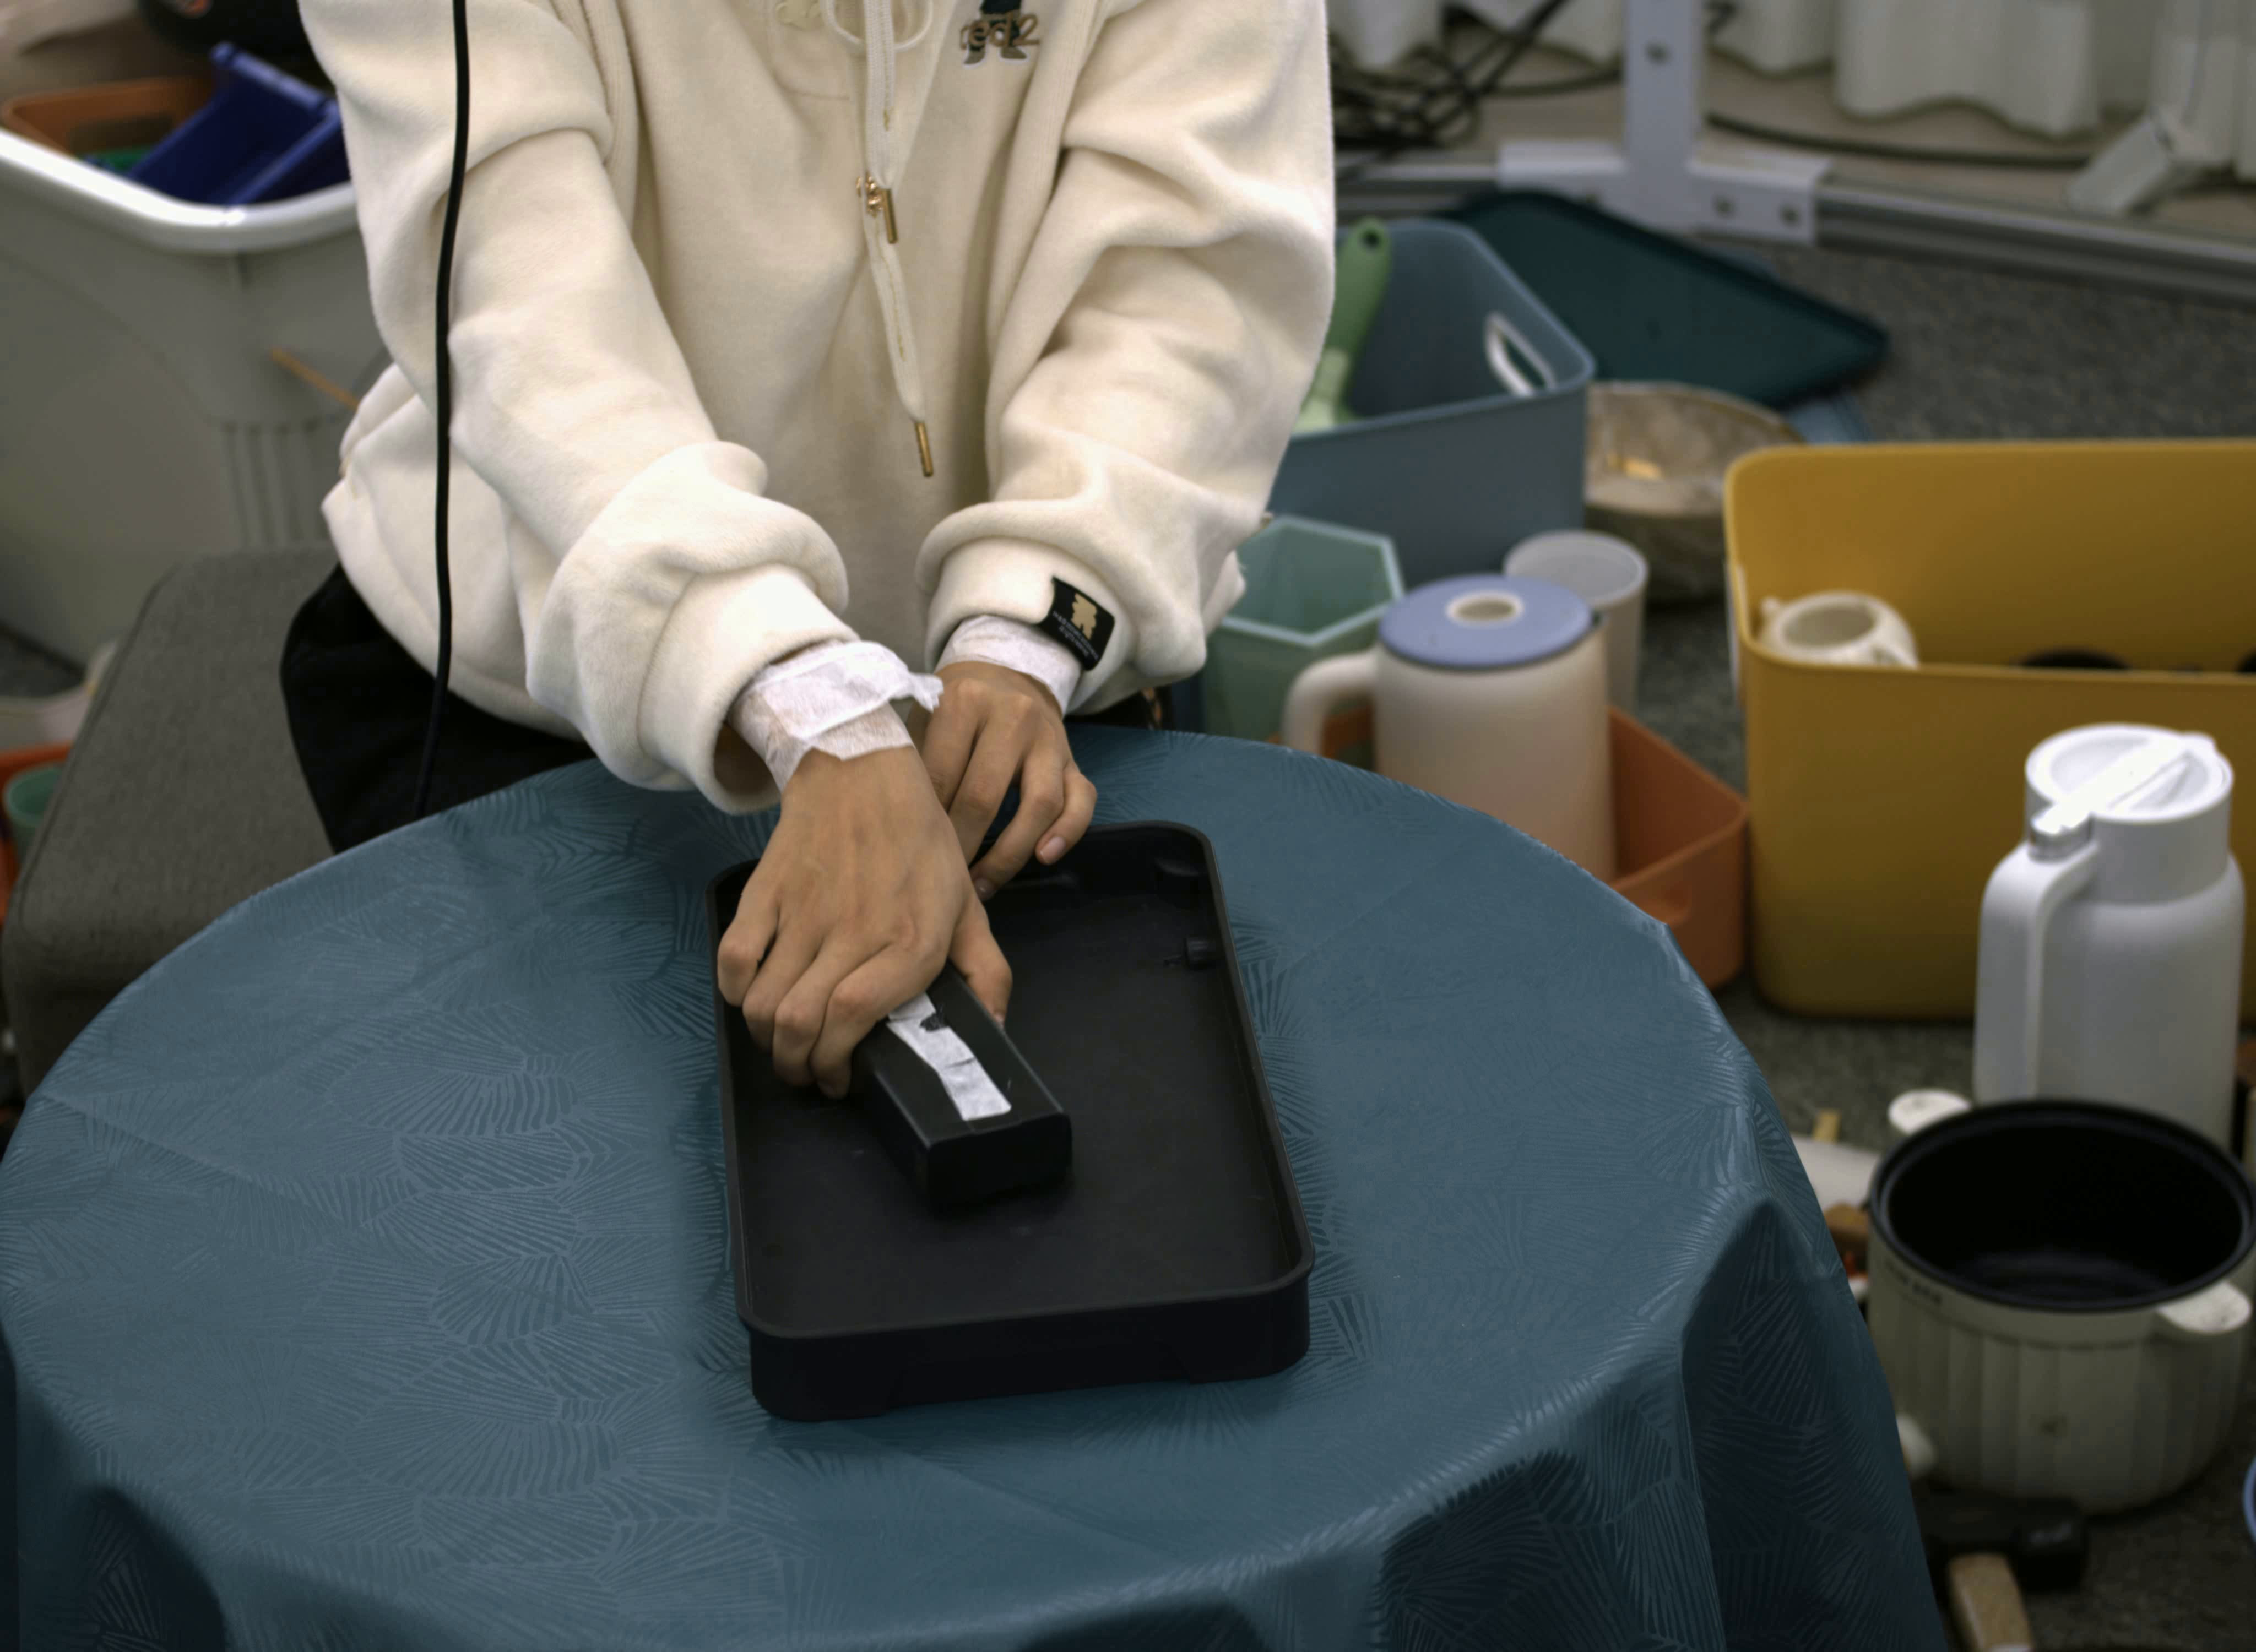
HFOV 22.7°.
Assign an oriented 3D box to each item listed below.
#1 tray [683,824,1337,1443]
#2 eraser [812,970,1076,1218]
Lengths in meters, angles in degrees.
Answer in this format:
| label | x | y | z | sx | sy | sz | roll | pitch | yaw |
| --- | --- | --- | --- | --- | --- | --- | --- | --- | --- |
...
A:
| label | x | y | z | sx | sy | sz | roll | pitch | yaw |
| --- | --- | --- | --- | --- | --- | --- | --- | --- | --- |
| tray | -0.045 | 0.096 | 1.874 | 0.184 | 0.036 | 0.322 | -6 | 28 | -7 |
| eraser | -0.063 | 0.089 | 1.892 | 0.053 | 0.030 | 0.126 | -8 | 27 | -19 |
